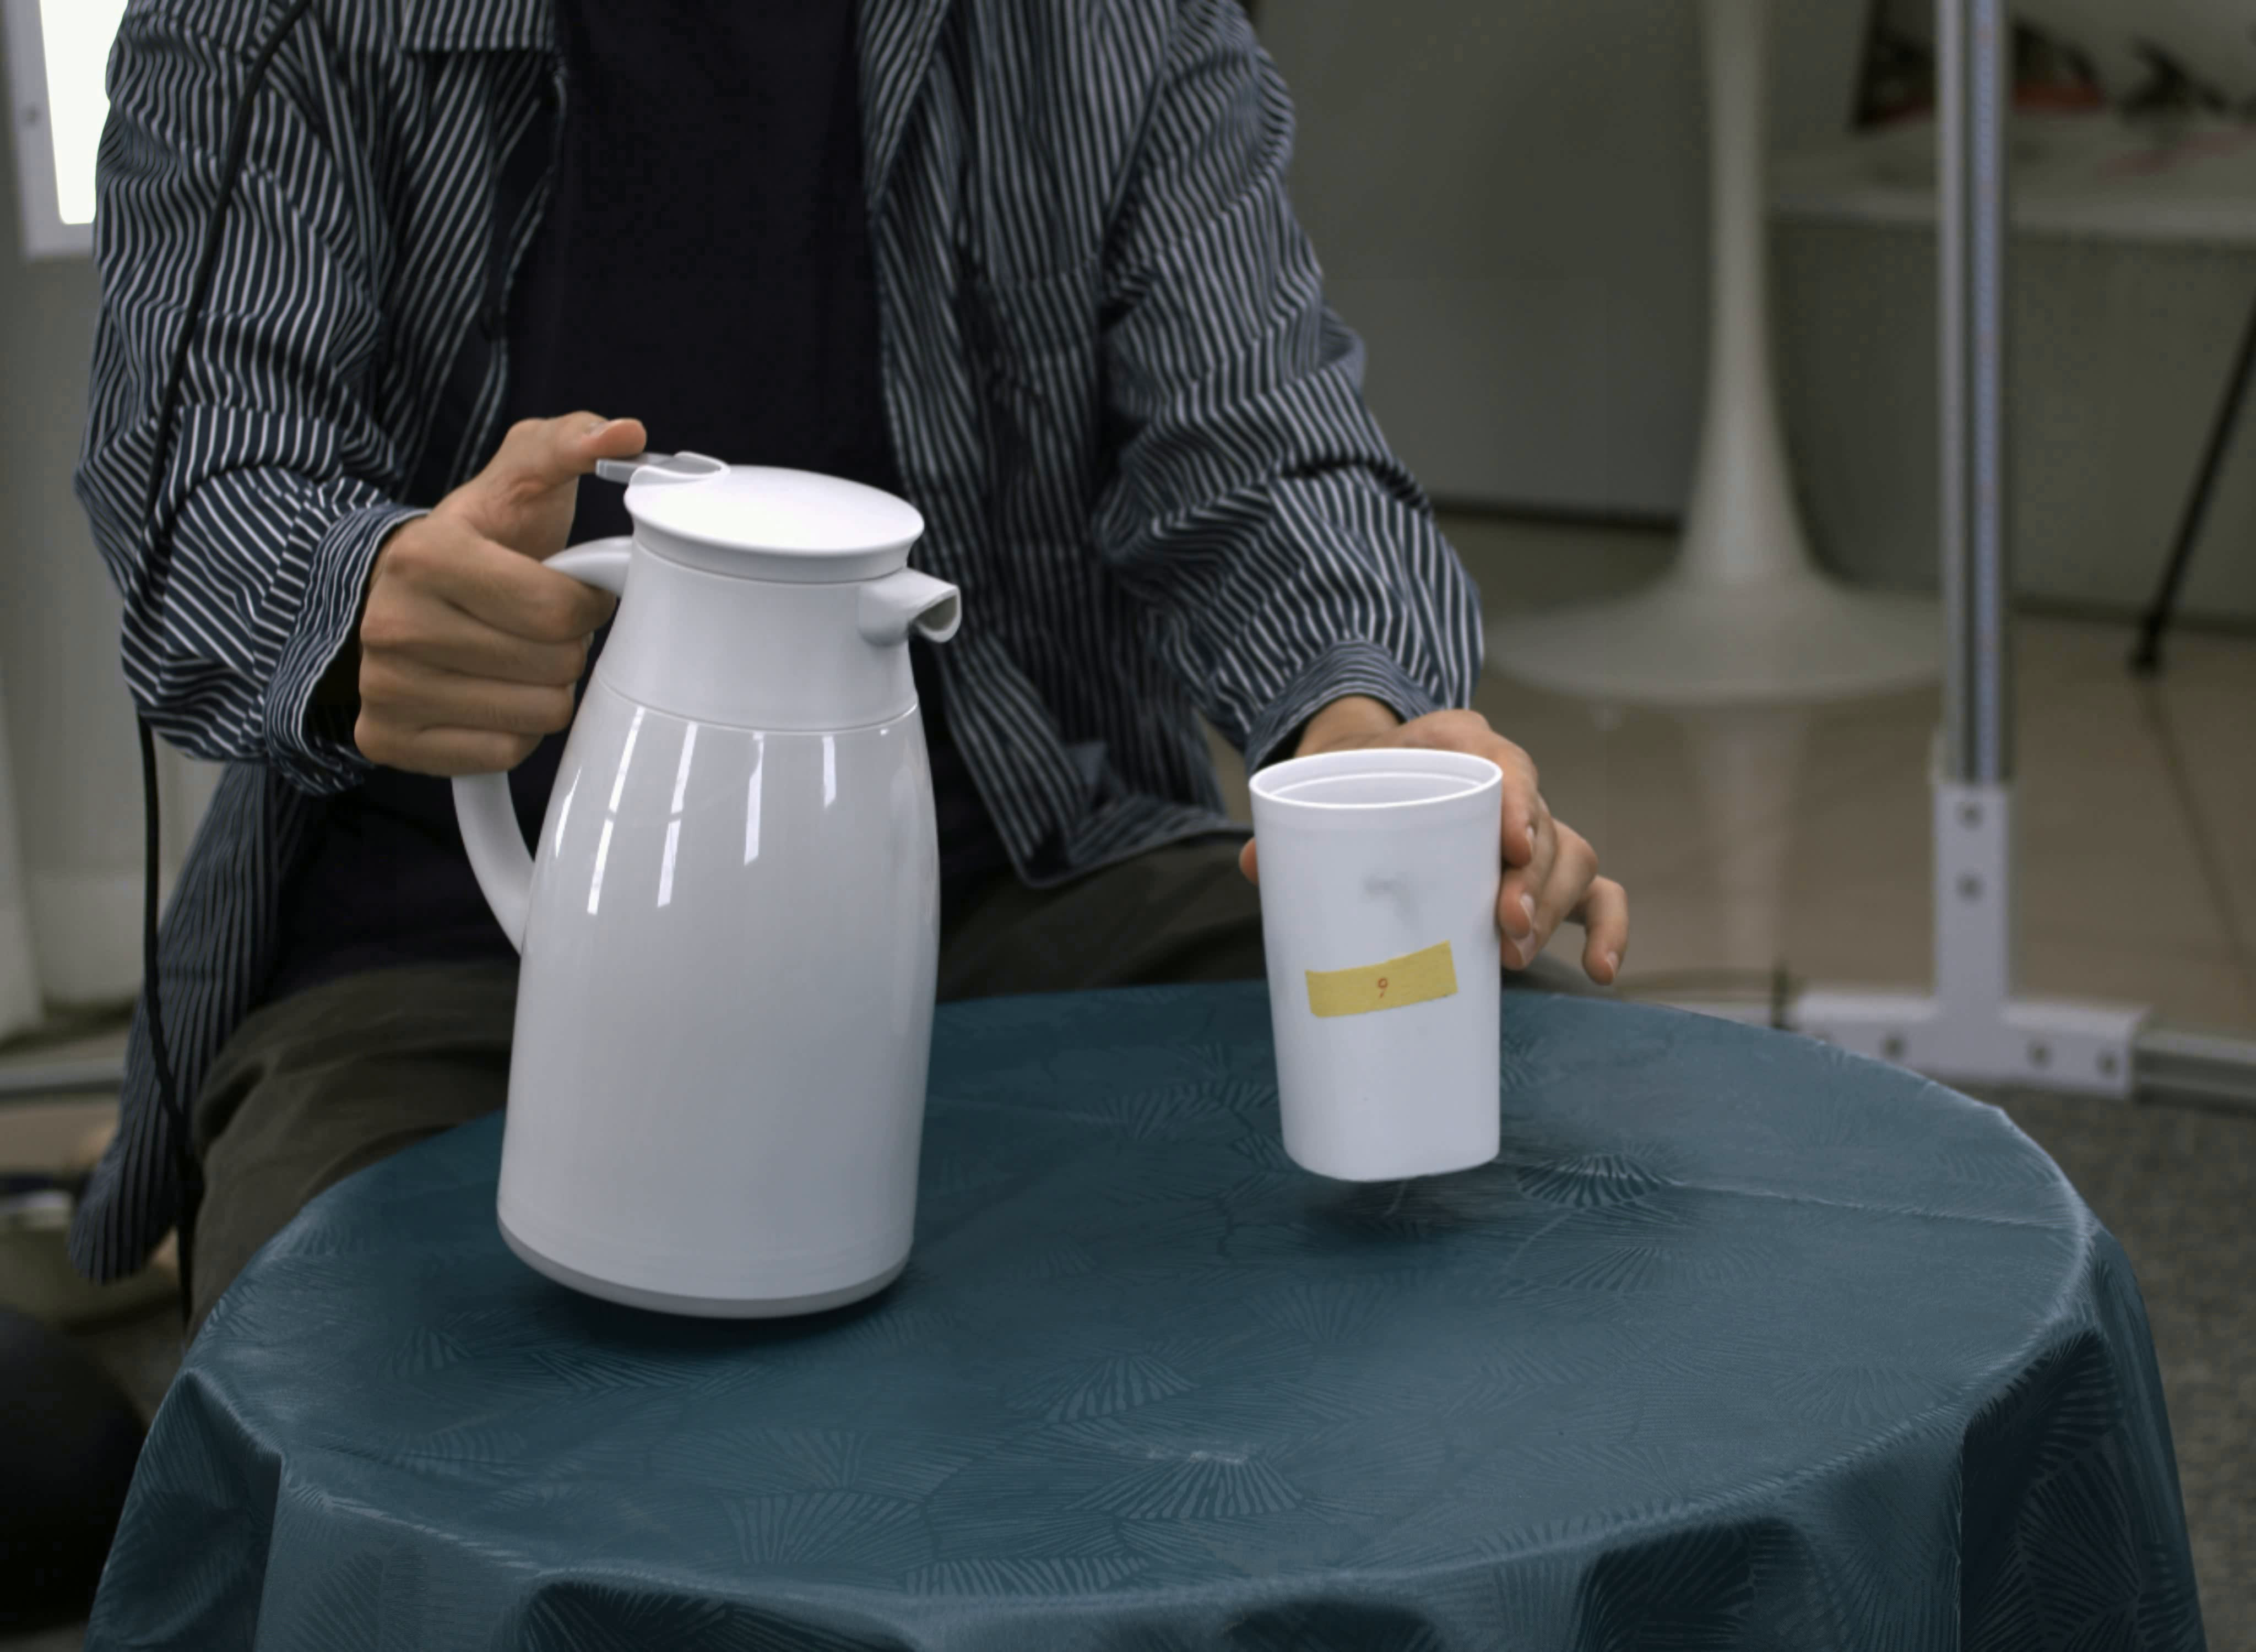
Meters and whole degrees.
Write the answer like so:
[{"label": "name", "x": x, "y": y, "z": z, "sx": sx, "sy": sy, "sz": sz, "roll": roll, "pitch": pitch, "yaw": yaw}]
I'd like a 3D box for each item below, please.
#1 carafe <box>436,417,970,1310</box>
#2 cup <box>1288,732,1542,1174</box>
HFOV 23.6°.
[{"label": "carafe", "x": -0.138, "y": 0.003, "z": 1.663, "sx": 0.167, "sy": 0.251, "sz": 0.131, "roll": 15, "pitch": 21, "yaw": 18}, {"label": "cup", "x": 0.094, "y": 0.040, "z": 1.709, "sx": 0.080, "sy": 0.127, "sz": 0.082, "roll": -3, "pitch": 12, "yaw": 0}]
